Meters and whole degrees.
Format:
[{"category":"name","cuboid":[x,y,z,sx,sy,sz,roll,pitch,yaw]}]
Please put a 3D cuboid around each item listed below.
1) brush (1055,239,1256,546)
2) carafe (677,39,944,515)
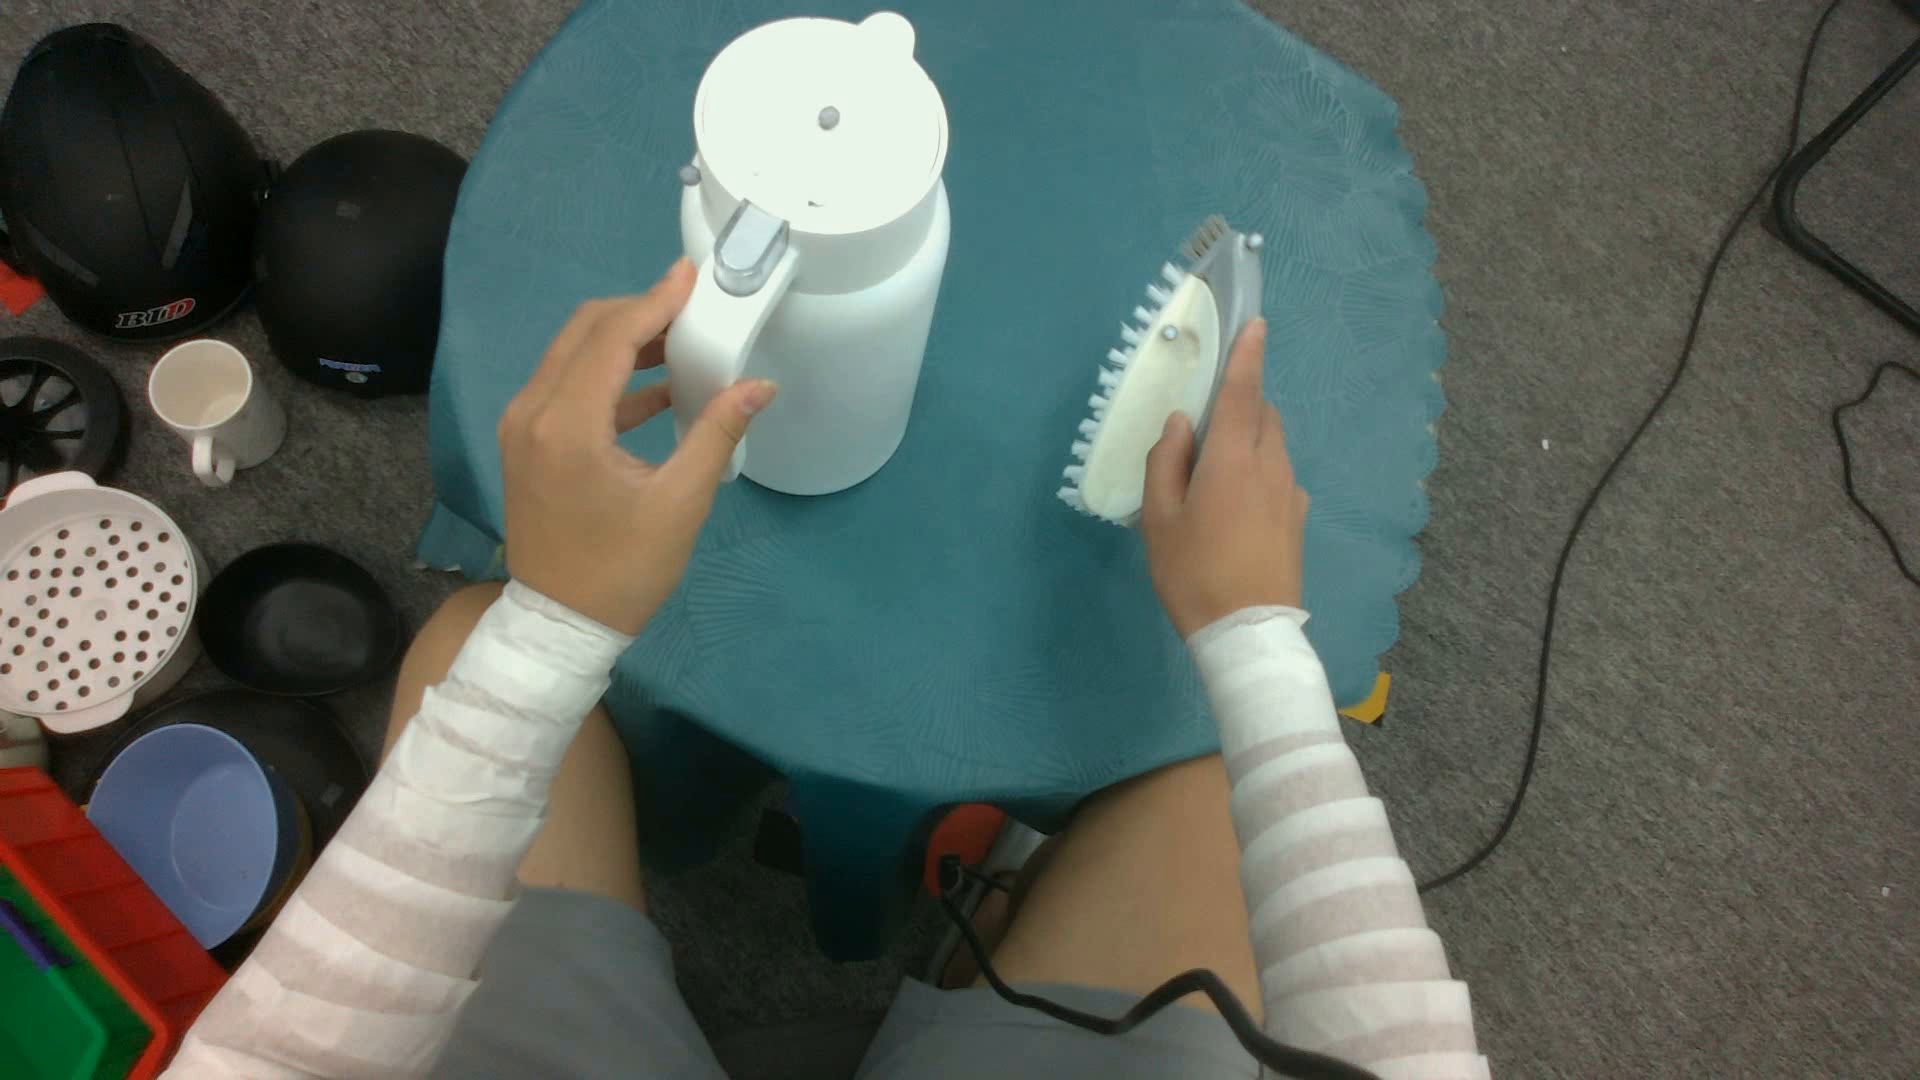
[{"category":"brush","cuboid":[0.119,-0.079,0.743,0.061,0.094,0.175,21,92,-28]},{"category":"carafe","cuboid":[-0.078,-0.095,0.671,0.124,0.268,0.173,24,69,0]}]
